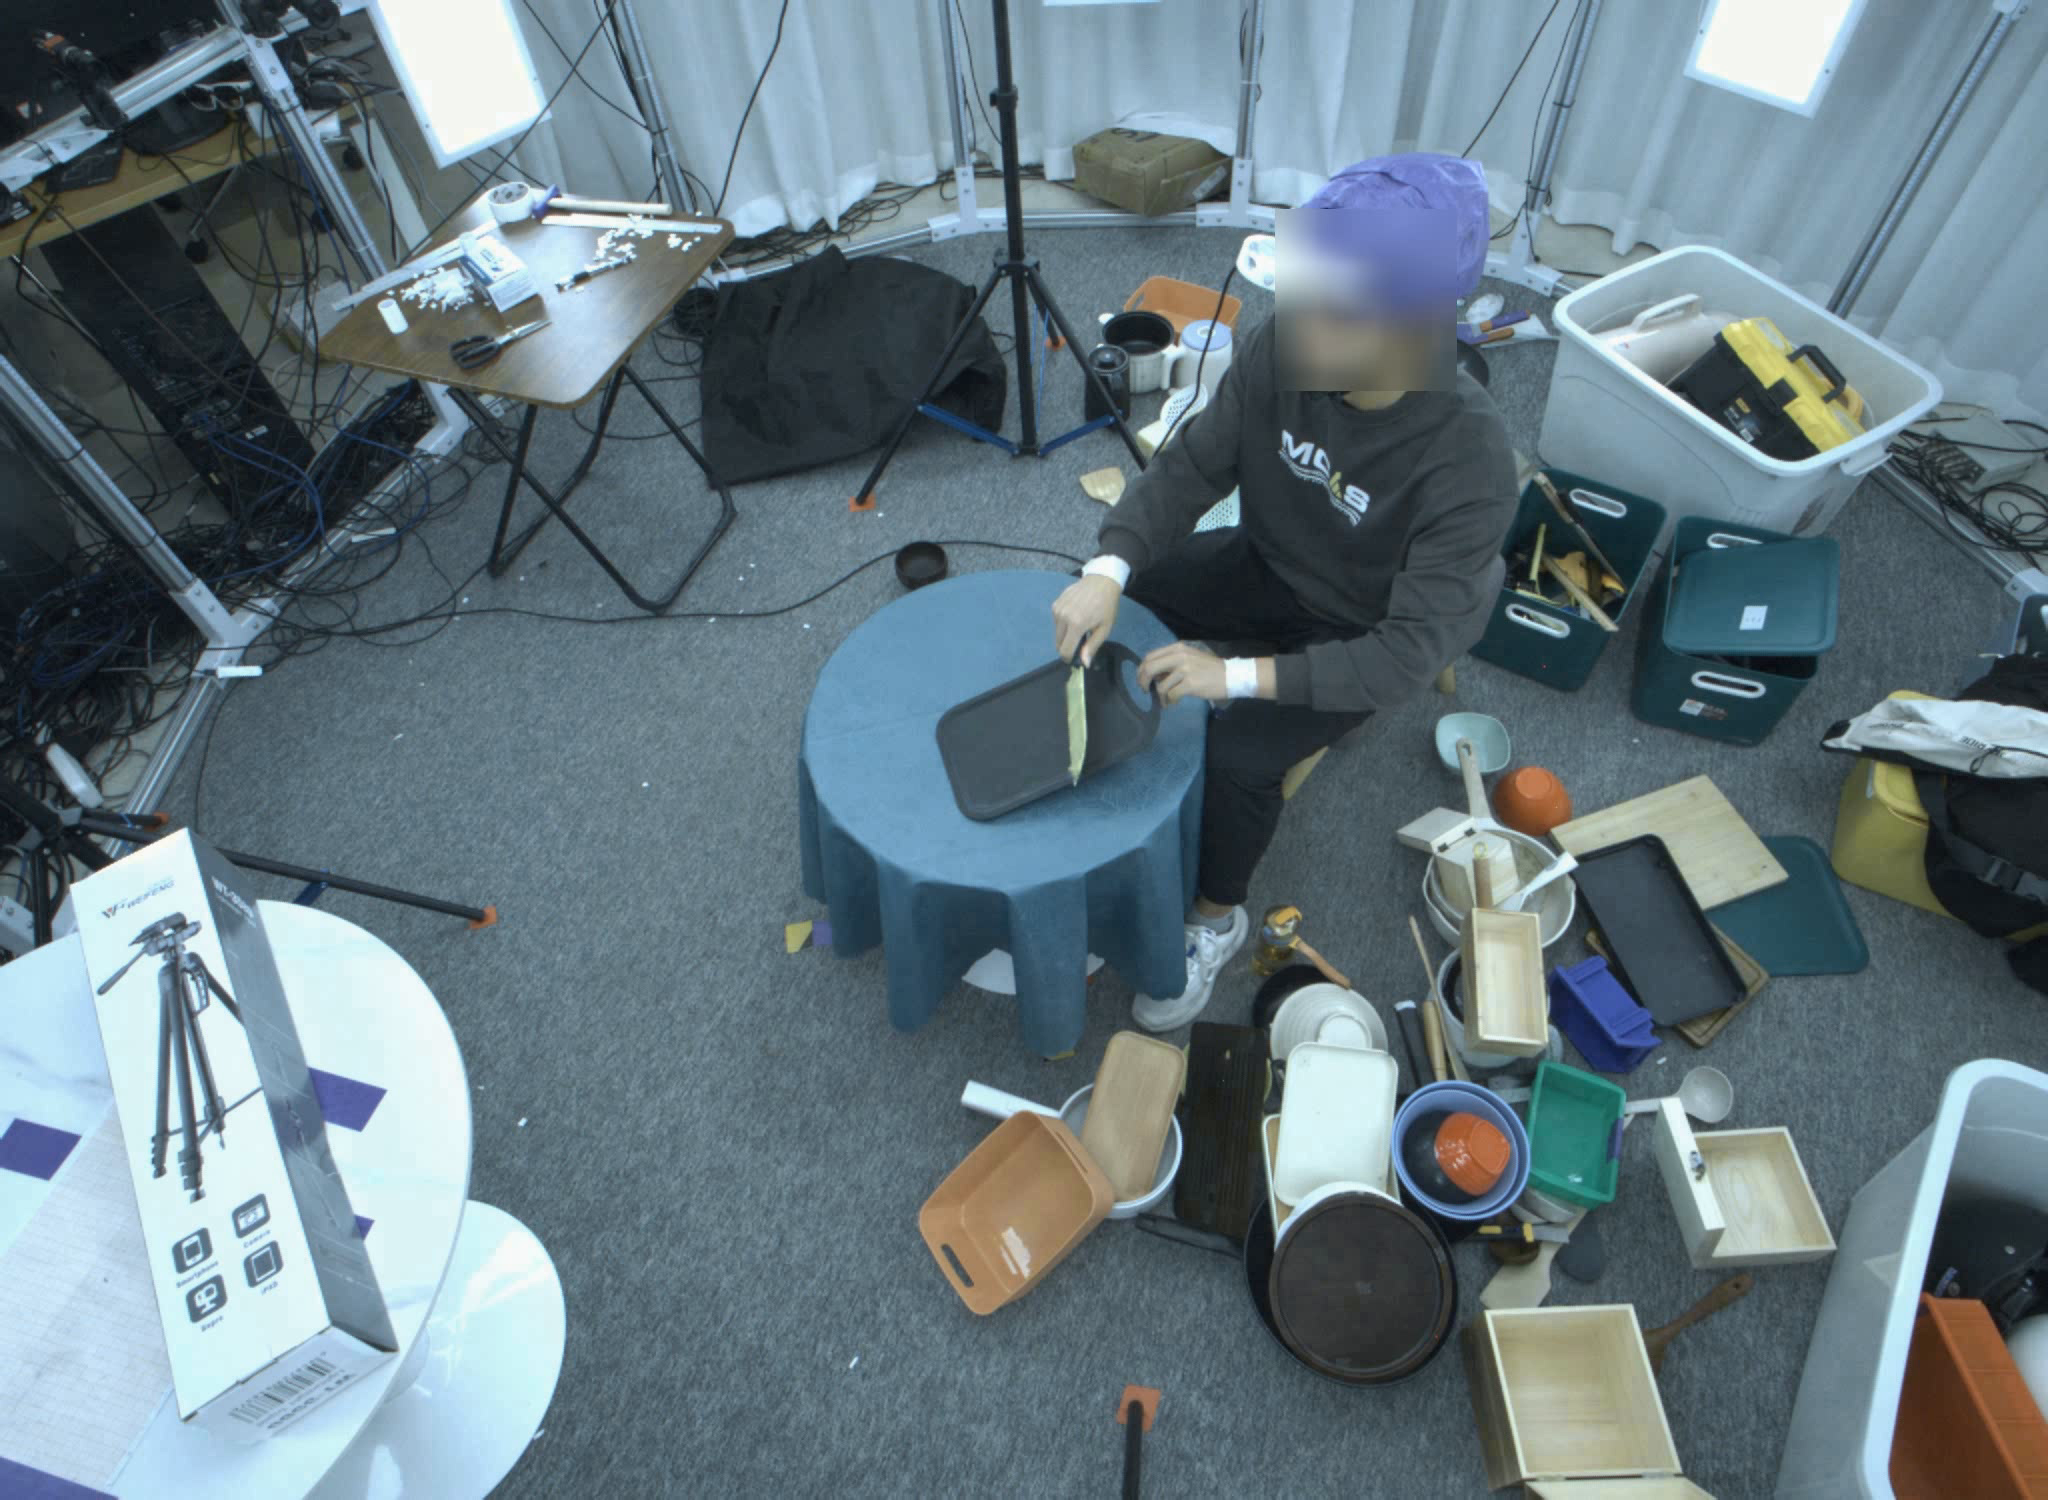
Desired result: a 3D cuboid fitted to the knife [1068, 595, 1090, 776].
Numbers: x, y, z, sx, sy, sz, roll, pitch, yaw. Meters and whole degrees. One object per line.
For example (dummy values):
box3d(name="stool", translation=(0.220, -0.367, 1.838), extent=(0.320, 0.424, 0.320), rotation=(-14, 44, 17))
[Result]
box3d(name="knife", translation=(0.076, -0.093, 1.744), extent=(0.027, 0.081, 0.287), rotation=(8, 62, -15))

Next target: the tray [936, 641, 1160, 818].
box3d(name="tray", translation=(0.035, -0.038, 1.764), extent=(0.325, 0.010, 0.207), rotation=(-23, 56, 4))
